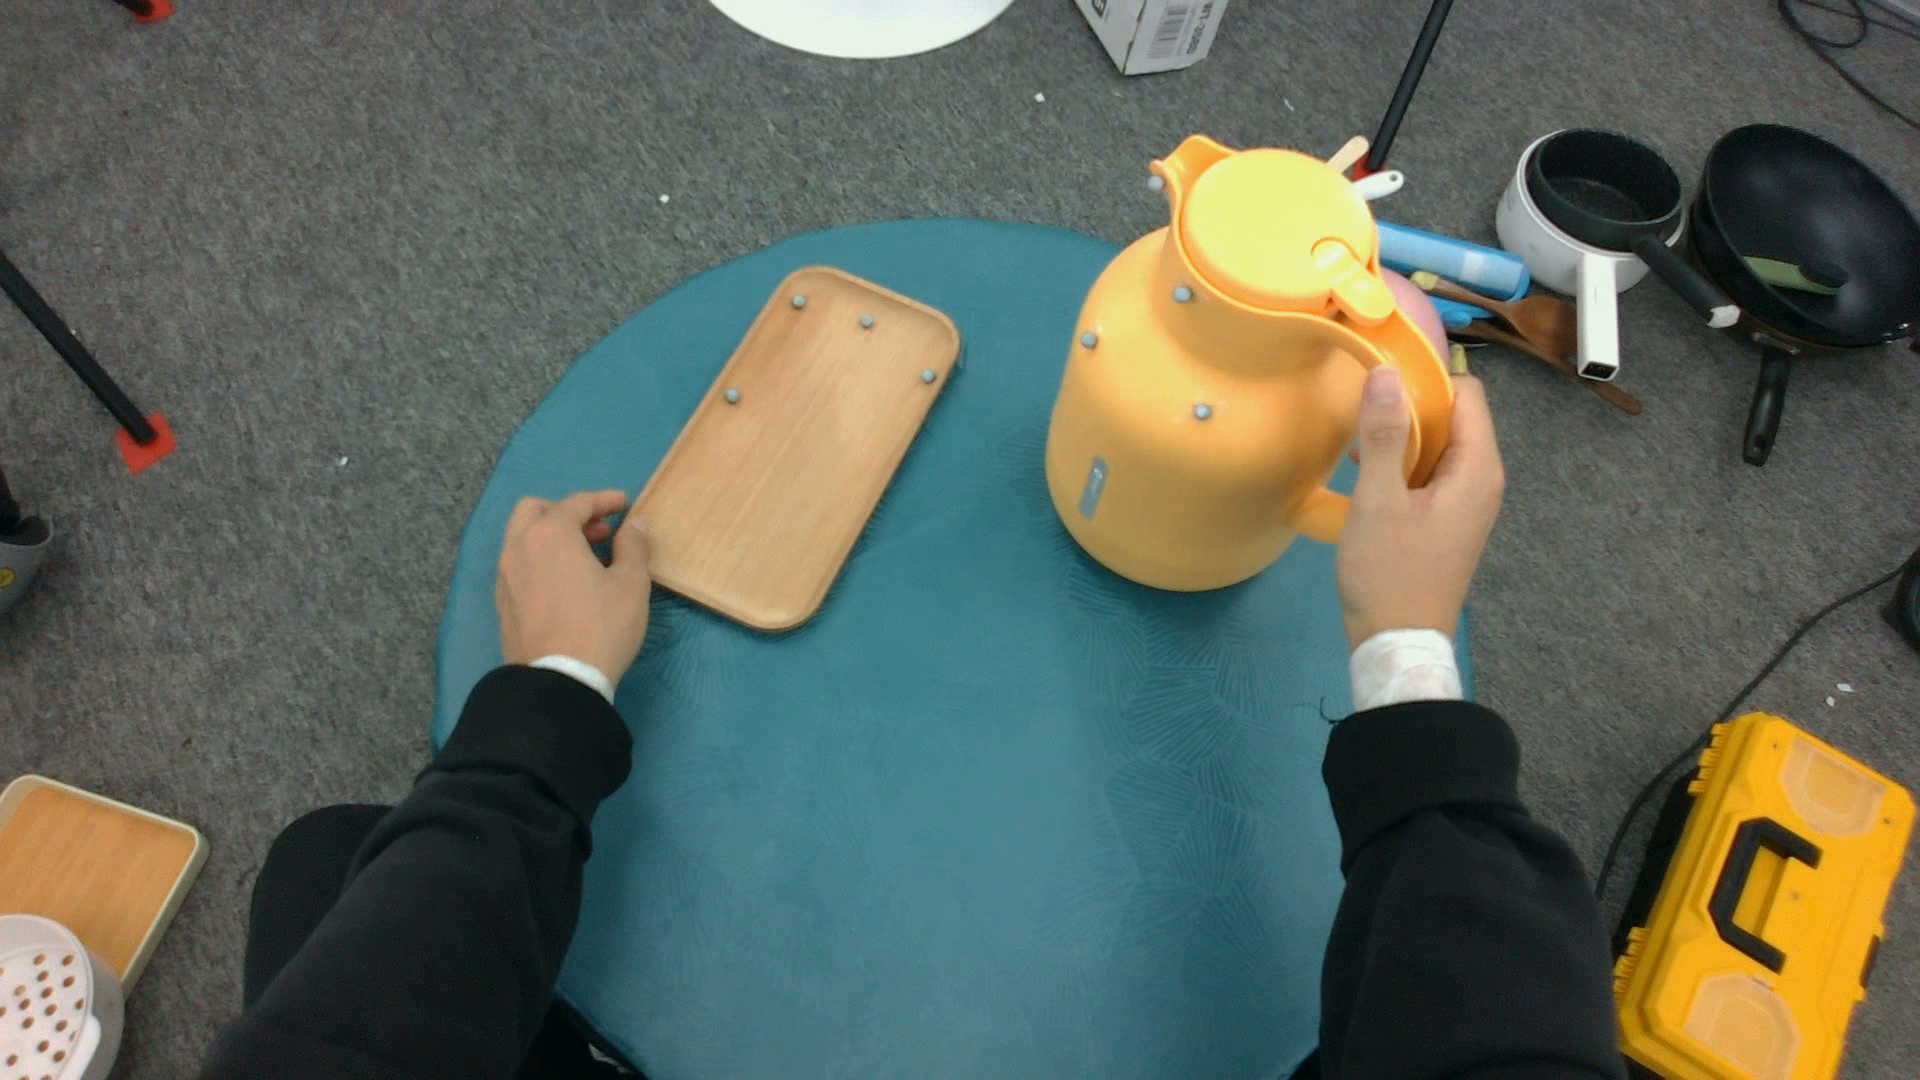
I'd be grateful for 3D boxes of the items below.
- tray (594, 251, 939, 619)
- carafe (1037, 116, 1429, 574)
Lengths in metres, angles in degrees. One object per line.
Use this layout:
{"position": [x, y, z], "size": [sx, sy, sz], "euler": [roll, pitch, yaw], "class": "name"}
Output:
{"position": [-0.112, -0.070, 0.842], "size": [0.130, 0.023, 0.252], "euler": [22, 63, 9], "class": "tray"}
{"position": [0.142, -0.086, 0.735], "size": [0.164, 0.259, 0.202], "euler": [-35, 68, -18], "class": "carafe"}
